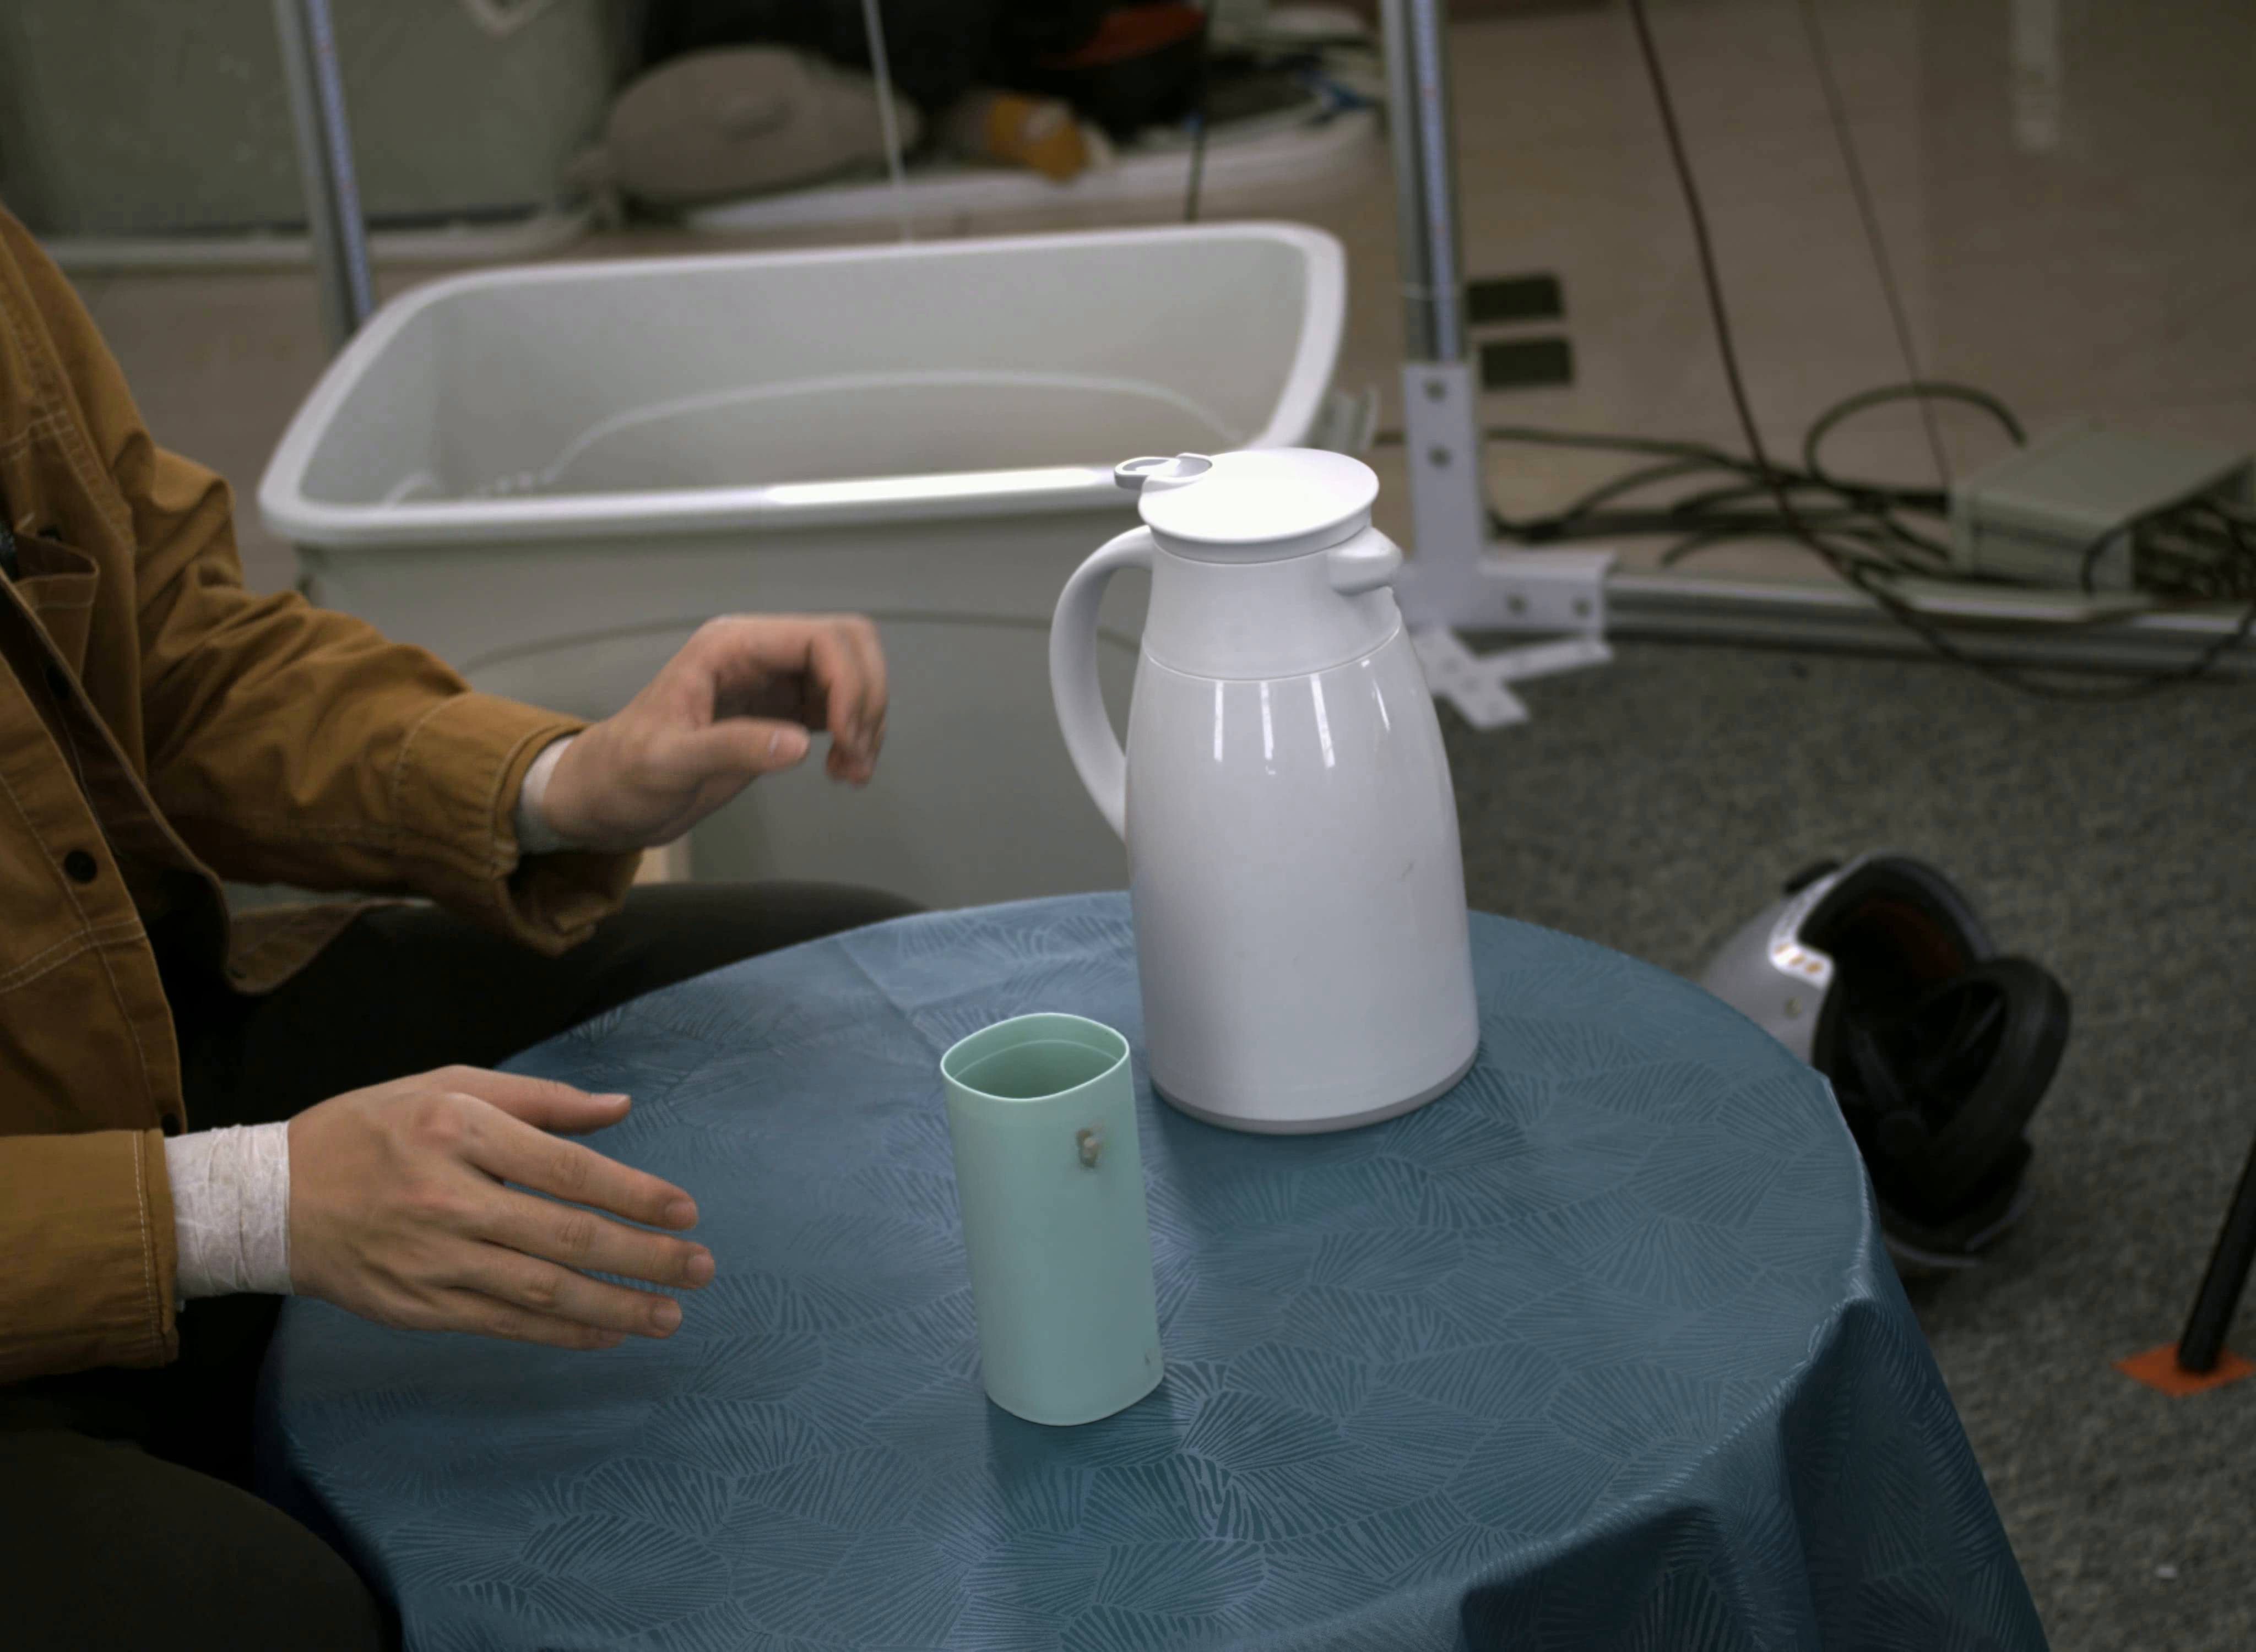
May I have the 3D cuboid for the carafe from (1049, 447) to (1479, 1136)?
[{"bbox_3d":[0.045,-0.023,2.189,0.167,0.252,0.131,11,31,34],"label":"carafe"}]

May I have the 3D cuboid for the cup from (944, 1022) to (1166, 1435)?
[{"bbox_3d":[-0.026,0.142,2.001,0.066,0.134,0.066,-5,26,3],"label":"cup"}]
